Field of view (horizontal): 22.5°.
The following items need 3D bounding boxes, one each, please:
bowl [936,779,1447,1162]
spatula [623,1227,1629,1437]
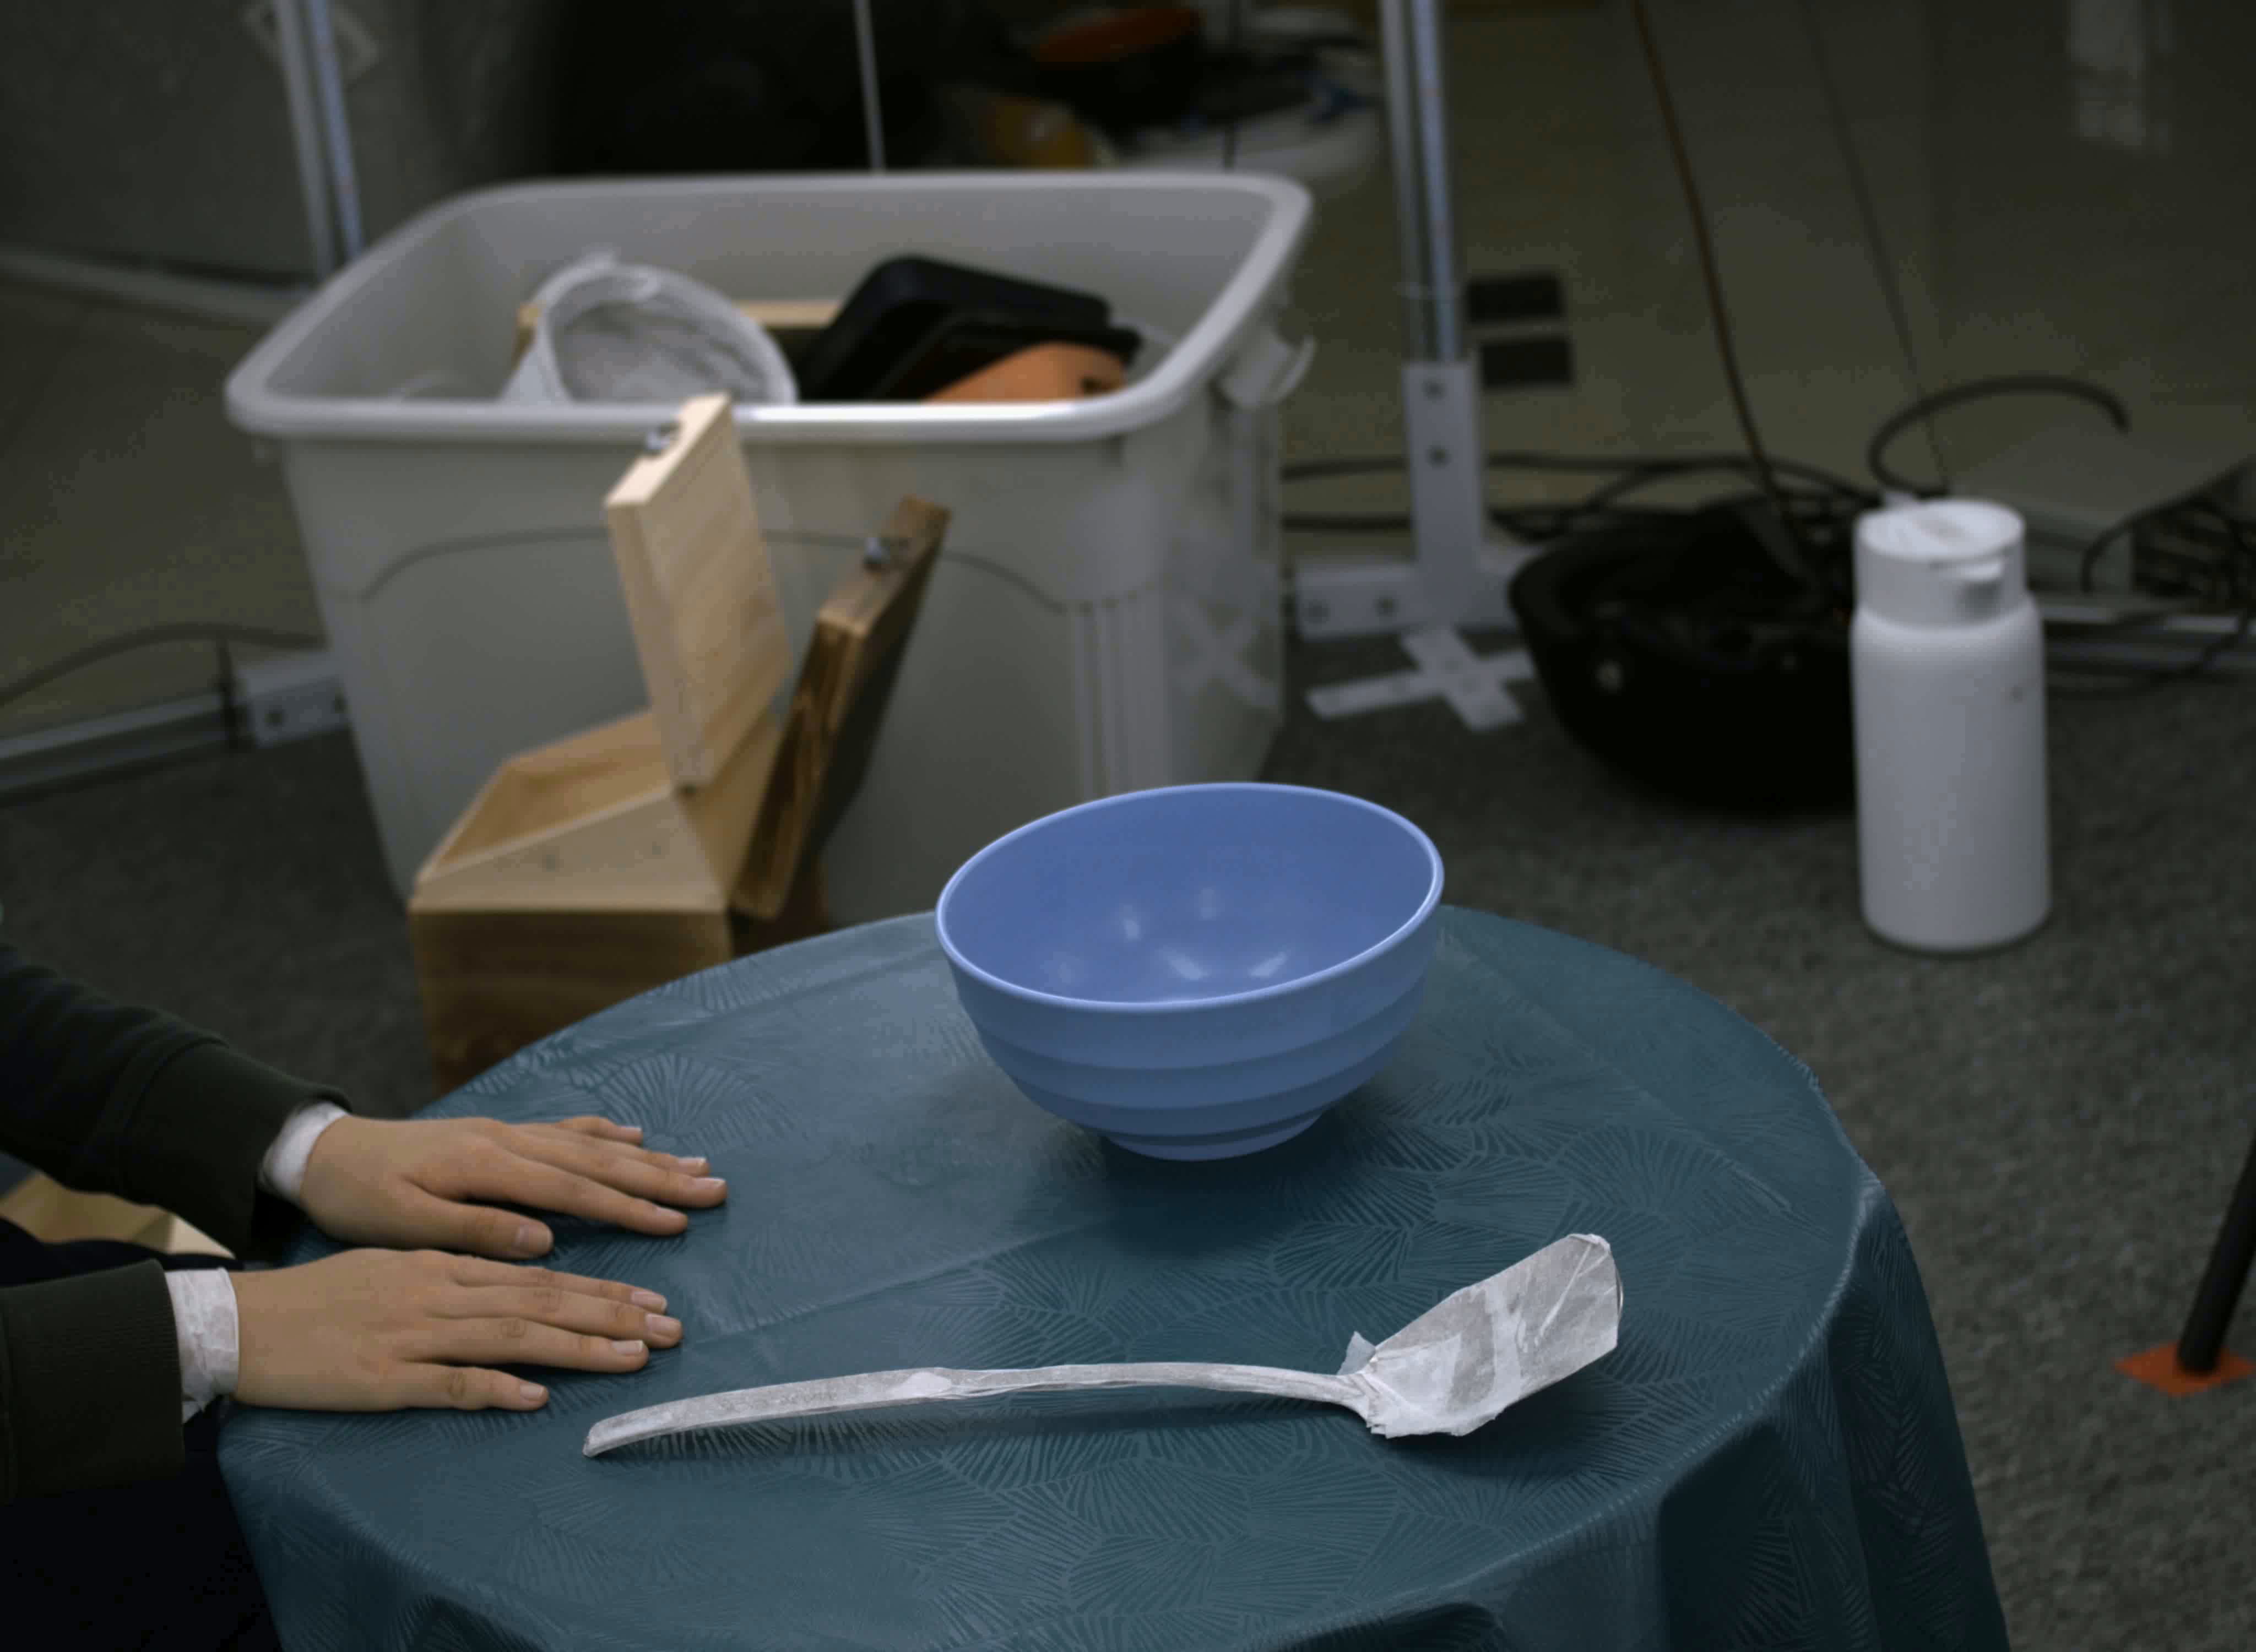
[{"bbox_3d":[0.028,0.066,2.187,0.196,0.097,0.193,-5,26,2],"label":"bowl"},{"bbox_3d":[-0.005,0.189,2.000,0.364,0.045,0.097,-3,27,7],"label":"spatula"}]
